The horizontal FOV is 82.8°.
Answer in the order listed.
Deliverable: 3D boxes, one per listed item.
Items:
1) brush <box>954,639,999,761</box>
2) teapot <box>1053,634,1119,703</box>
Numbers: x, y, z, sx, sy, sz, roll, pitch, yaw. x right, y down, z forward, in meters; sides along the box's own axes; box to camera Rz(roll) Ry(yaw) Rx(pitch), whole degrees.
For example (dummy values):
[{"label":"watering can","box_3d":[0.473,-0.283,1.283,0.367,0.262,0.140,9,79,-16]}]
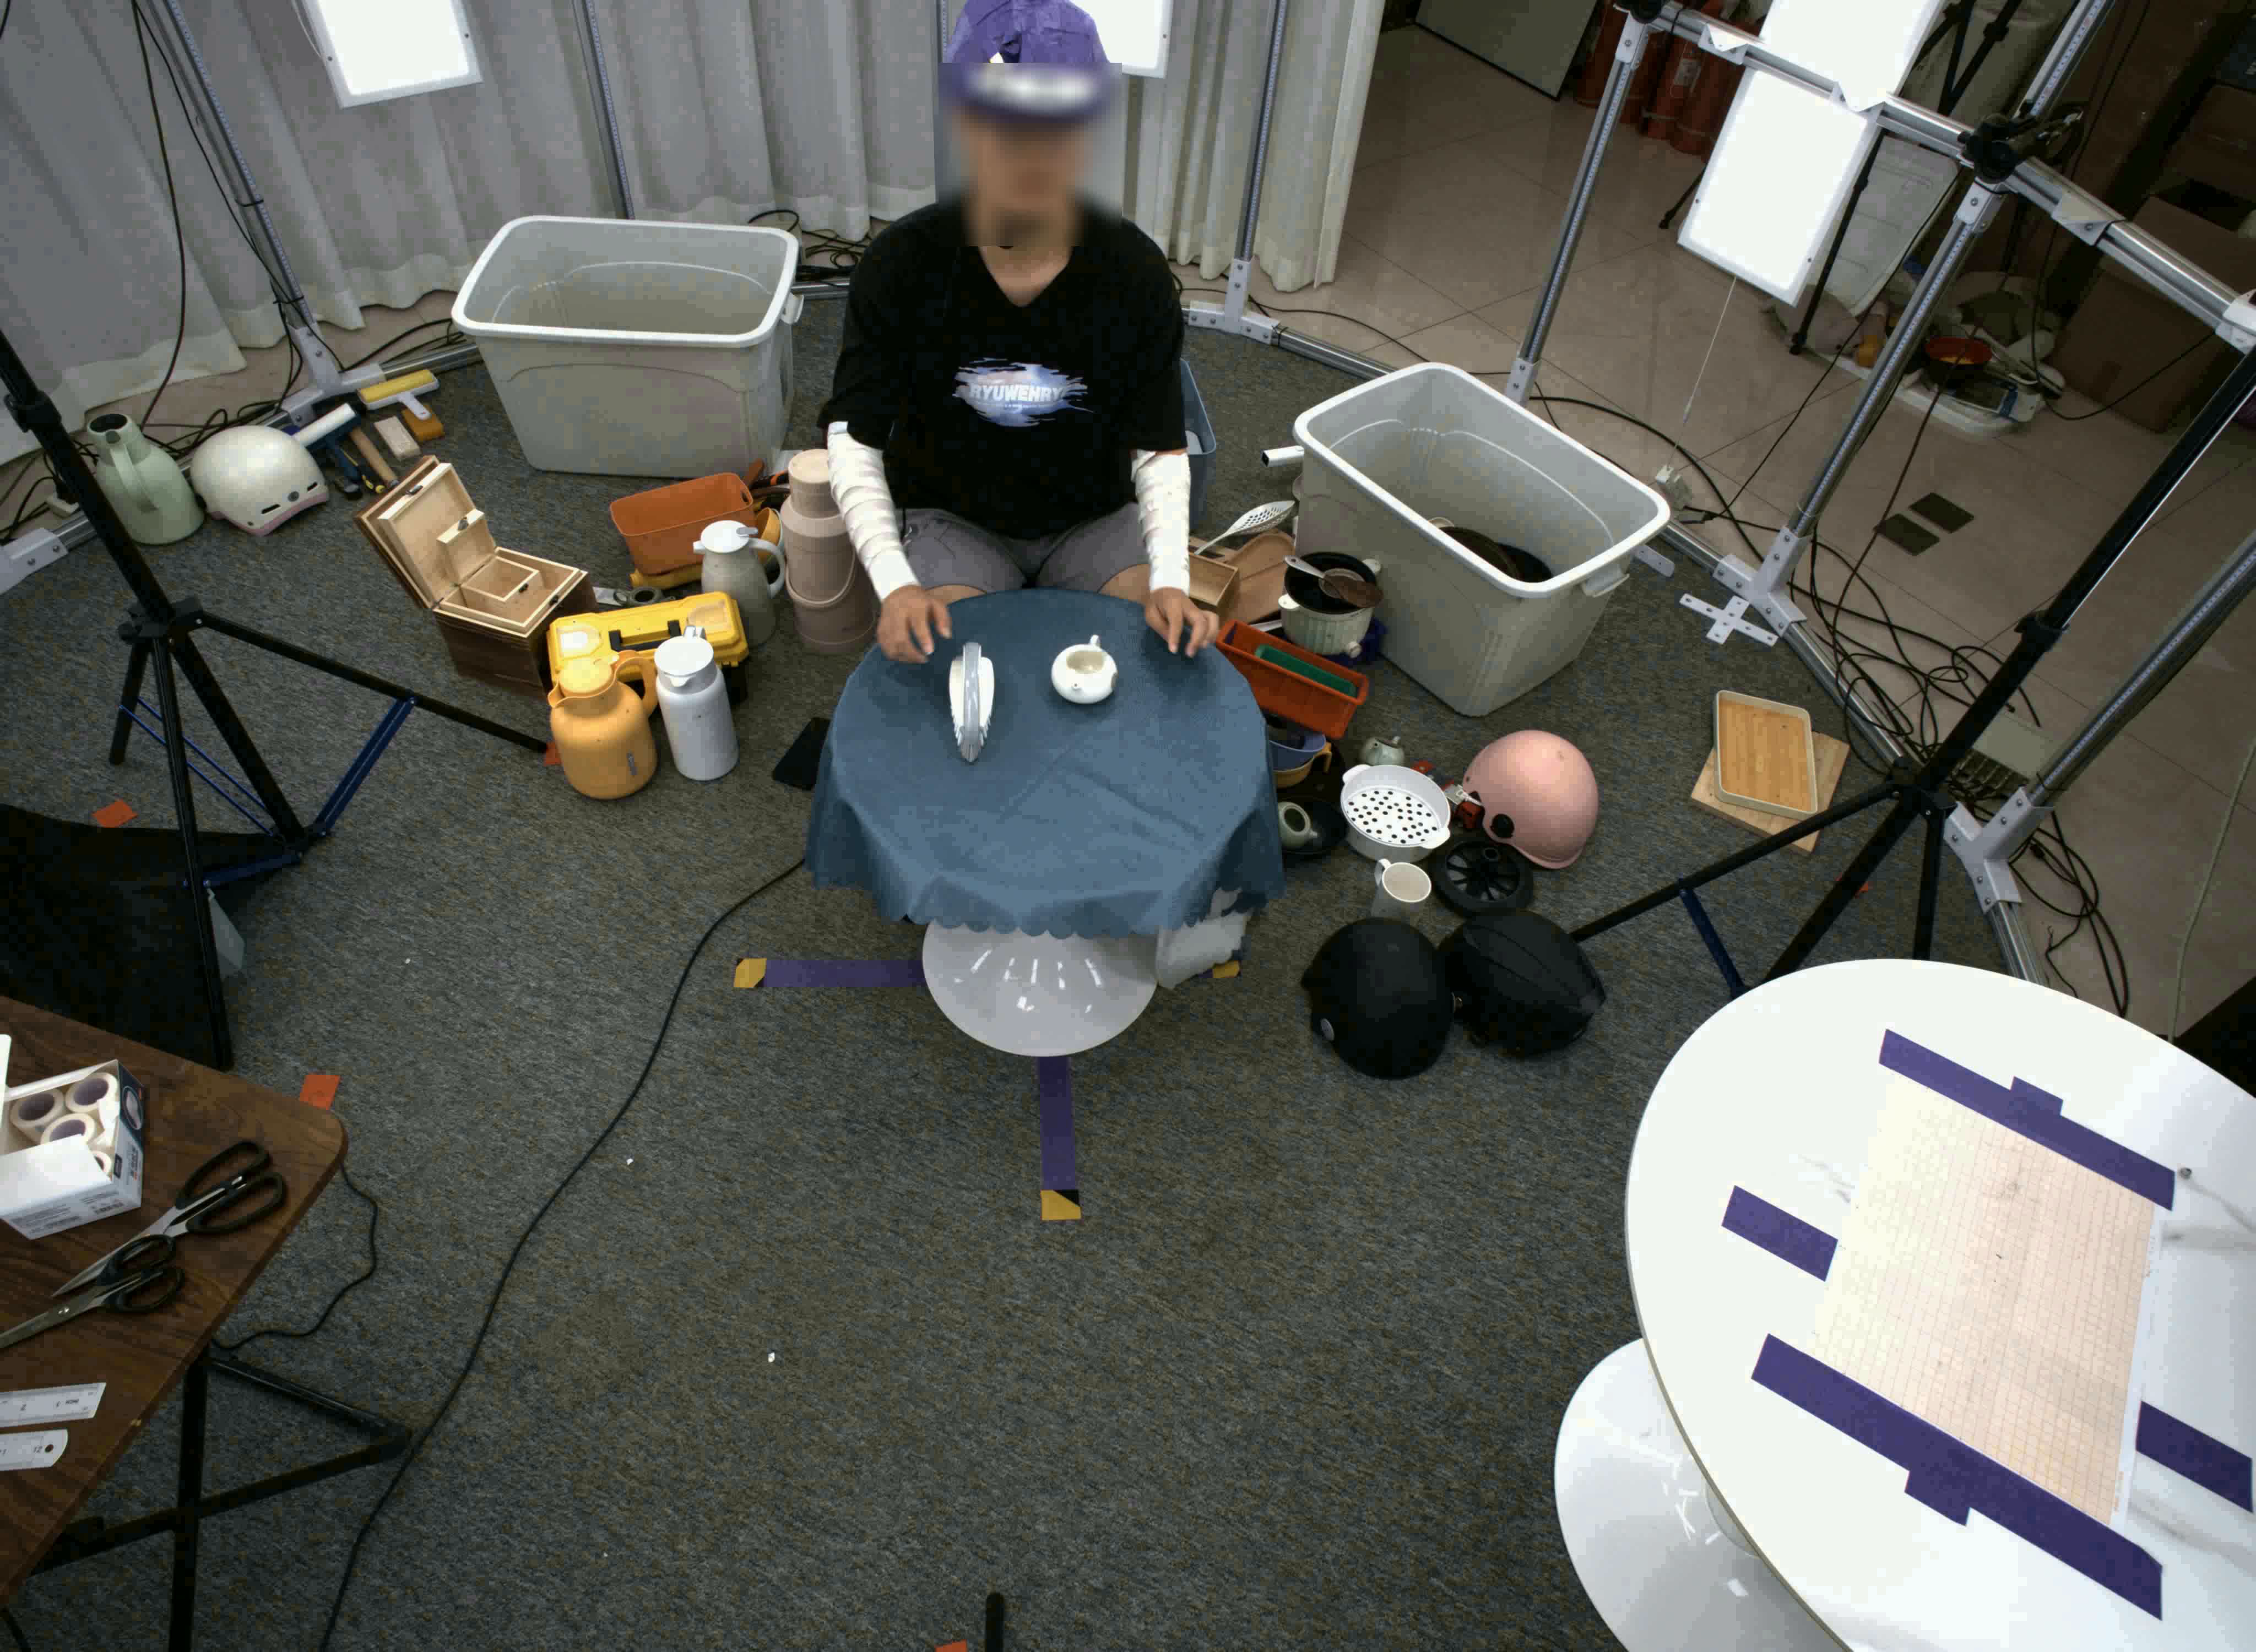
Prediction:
[{"label":"brush","box_3d":[-0.208,-0.182,1.758,0.061,0.092,0.180,-1,52,-2]},{"label":"teapot","box_3d":[-0.057,-0.224,1.828,0.093,0.055,0.130,7,48,7]}]
